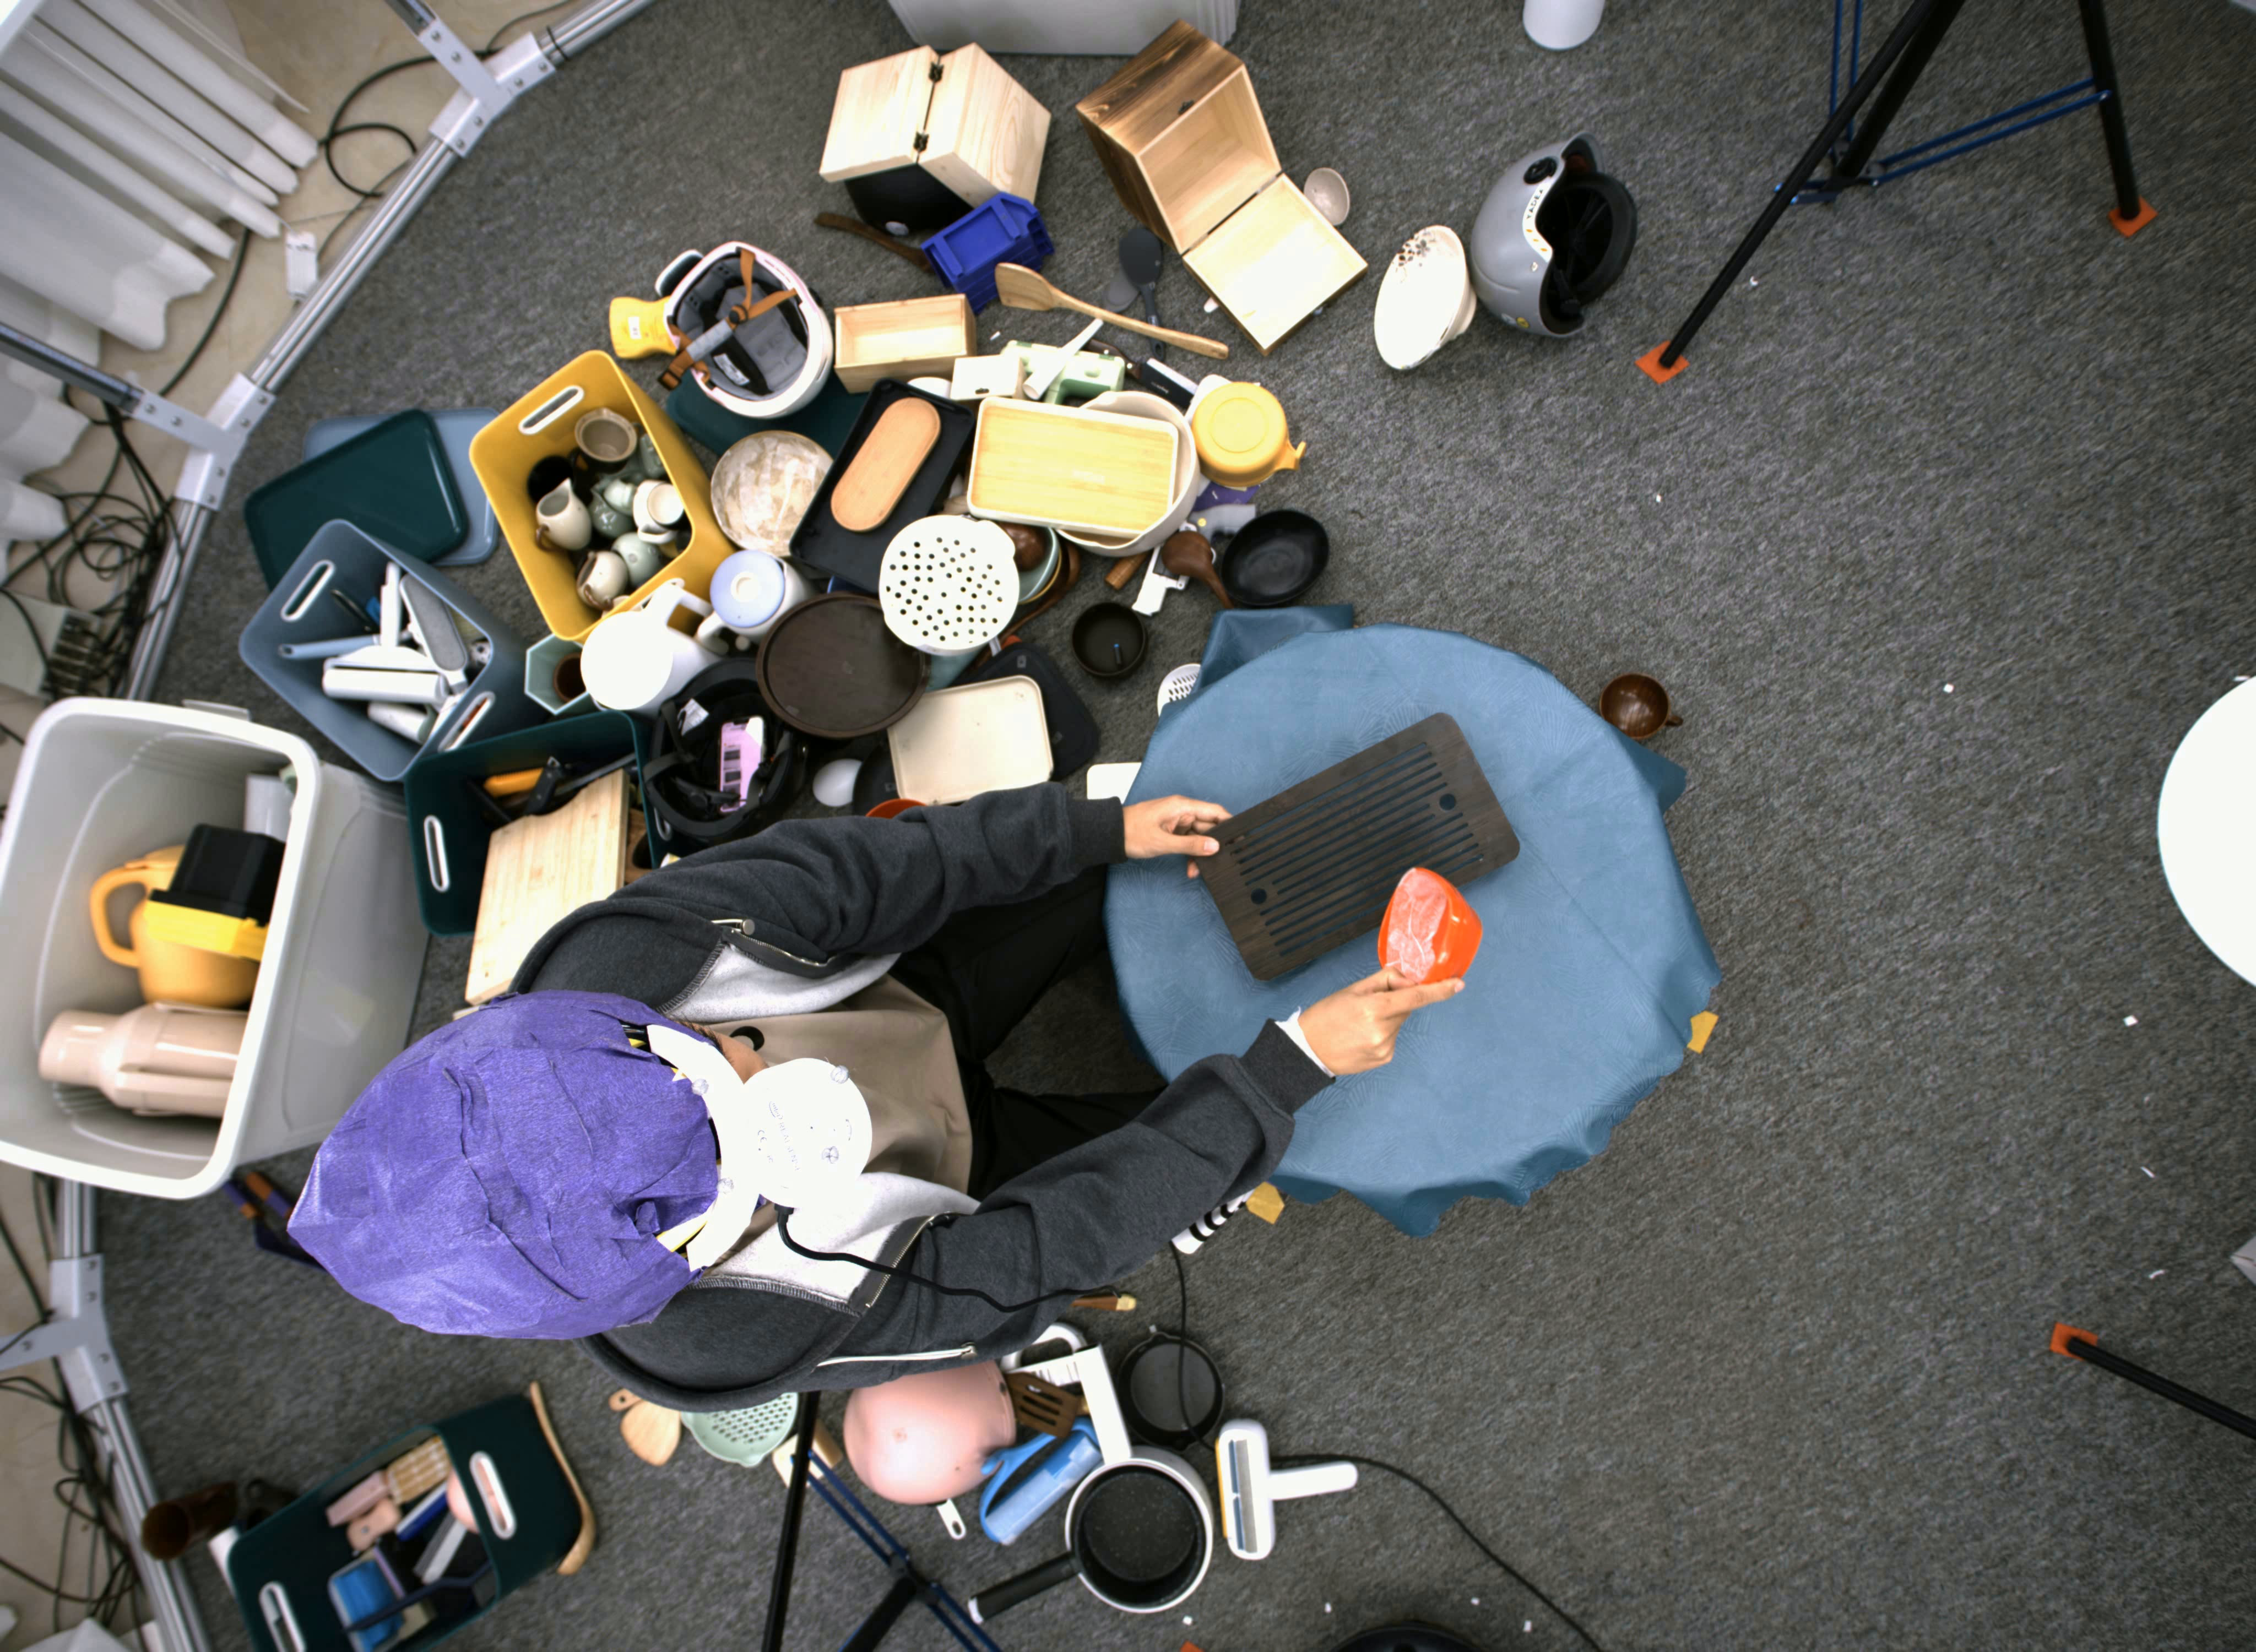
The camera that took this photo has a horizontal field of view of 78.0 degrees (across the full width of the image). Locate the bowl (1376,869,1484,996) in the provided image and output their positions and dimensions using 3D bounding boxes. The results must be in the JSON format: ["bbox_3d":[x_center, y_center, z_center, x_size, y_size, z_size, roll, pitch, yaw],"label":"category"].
[{"bbox_3d":[0.280,0.100,1.257,0.051,0.119,0.118,14,87,-22],"label":"bowl"}]

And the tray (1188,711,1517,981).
[{"bbox_3d":[0.230,0.020,1.425,0.308,0.018,0.169,-28,86,10],"label":"tray"}]
